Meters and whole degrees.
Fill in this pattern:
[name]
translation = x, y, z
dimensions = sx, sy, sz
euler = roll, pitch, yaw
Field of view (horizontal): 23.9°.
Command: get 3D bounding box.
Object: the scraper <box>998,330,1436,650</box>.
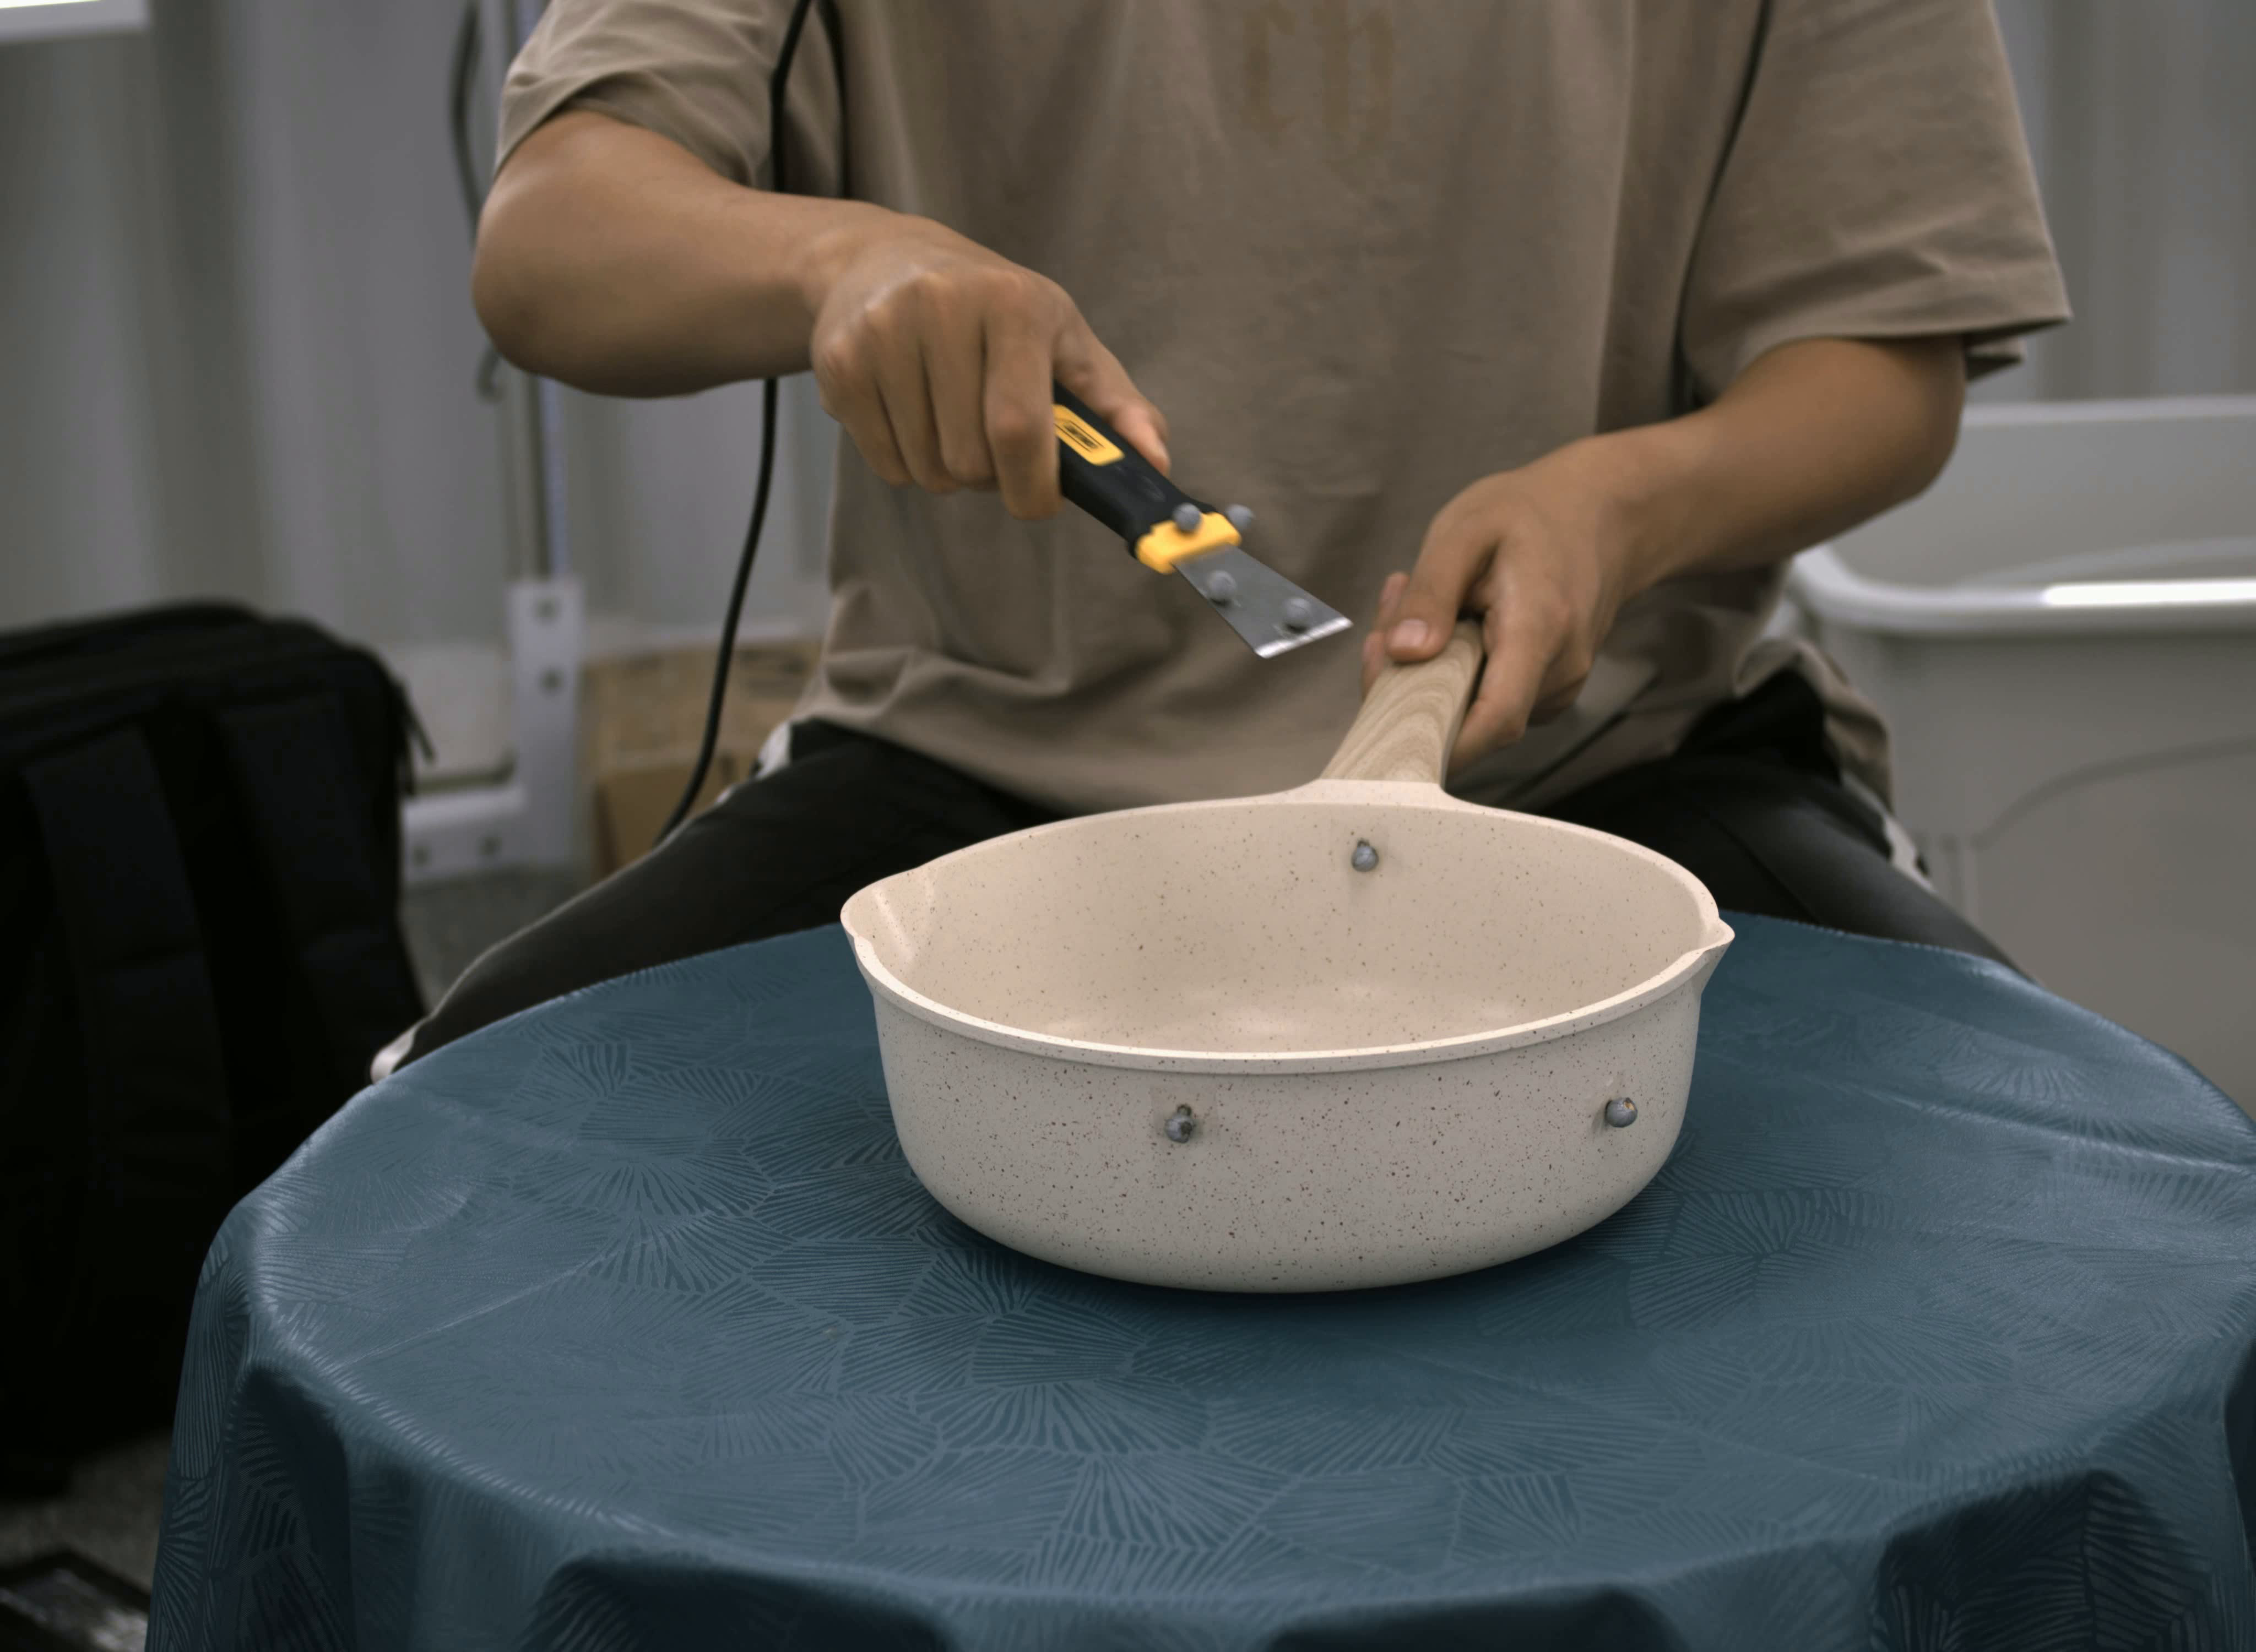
[scraper]
translation = 0.021, -0.100, 1.561
dimensions = 0.038, 0.015, 0.175
euler = -29, 48, -27

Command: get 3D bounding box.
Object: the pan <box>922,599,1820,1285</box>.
[pan]
translation = 0.091, 0.031, 1.629
dimensions = 0.265, 0.102, 0.432
euler = -1, 16, 14
